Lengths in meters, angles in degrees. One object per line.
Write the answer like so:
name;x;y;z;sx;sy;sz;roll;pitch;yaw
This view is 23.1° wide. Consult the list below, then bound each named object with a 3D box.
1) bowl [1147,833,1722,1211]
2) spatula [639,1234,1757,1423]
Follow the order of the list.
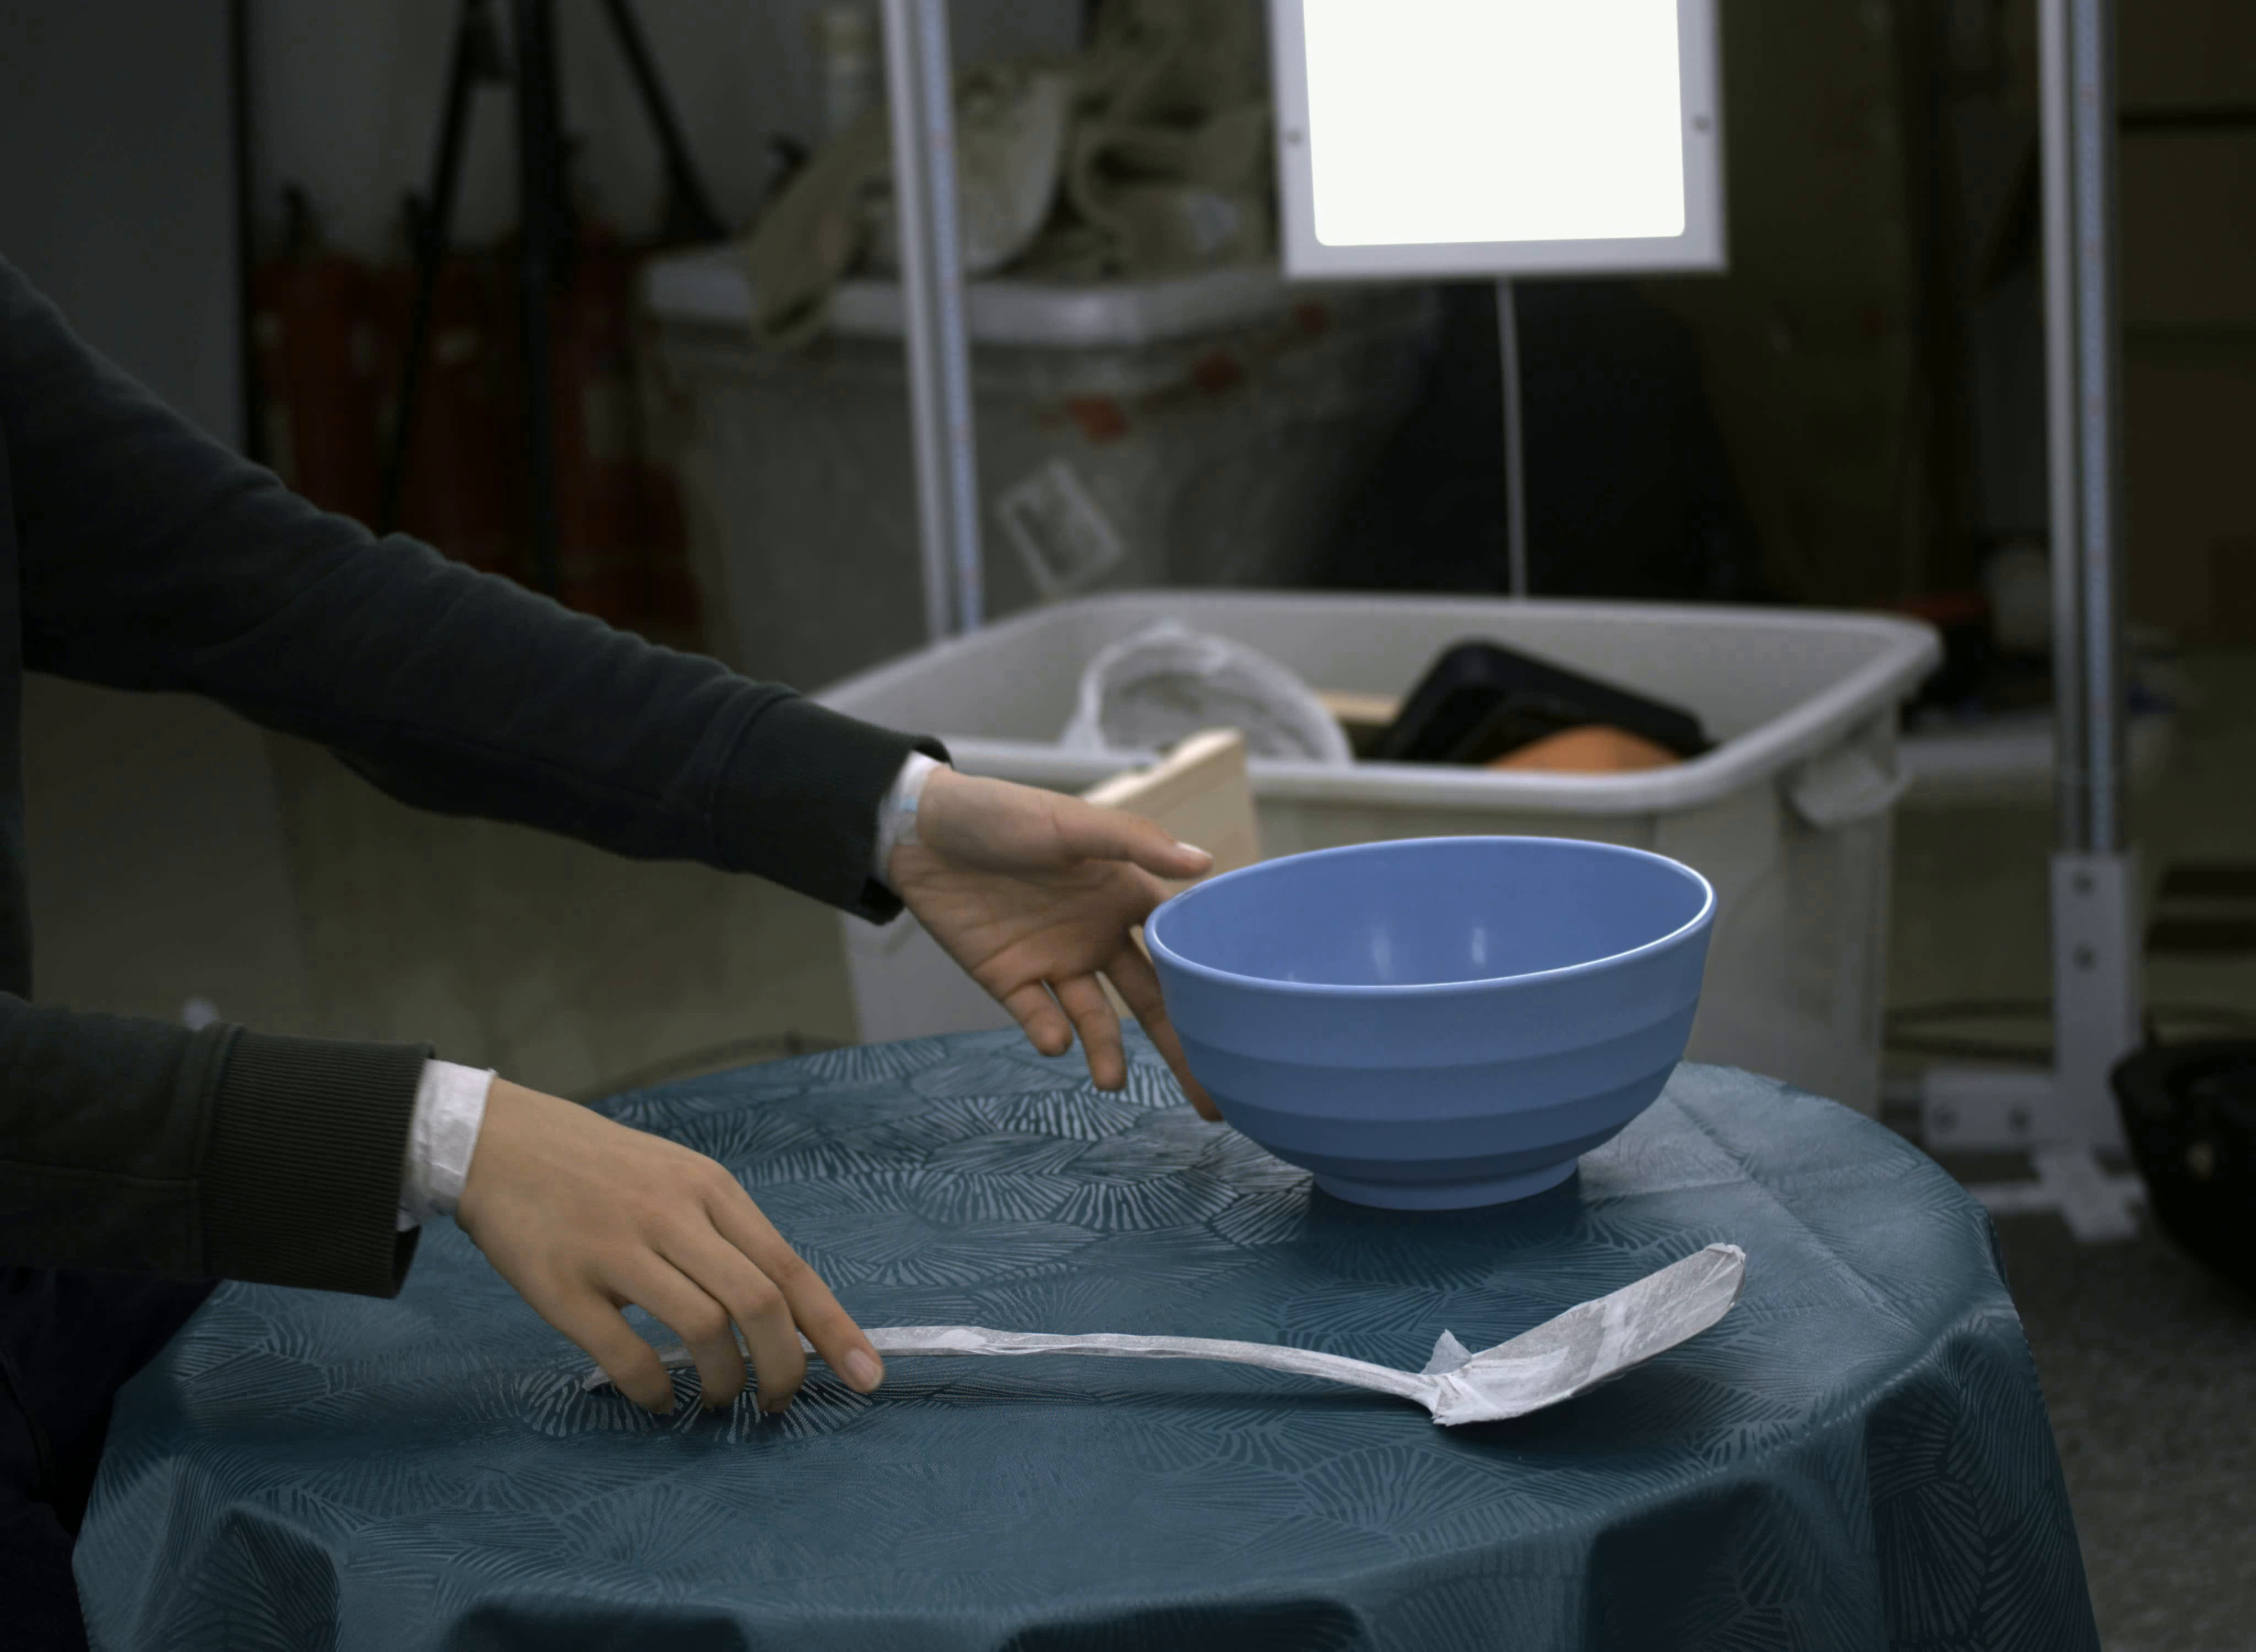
bowl;0.106;0.072;1.879;0.196;0.096;0.196;-4;14;0
spatula;0.013;0.155;1.693;0.369;0.045;0.097;0;16;19
